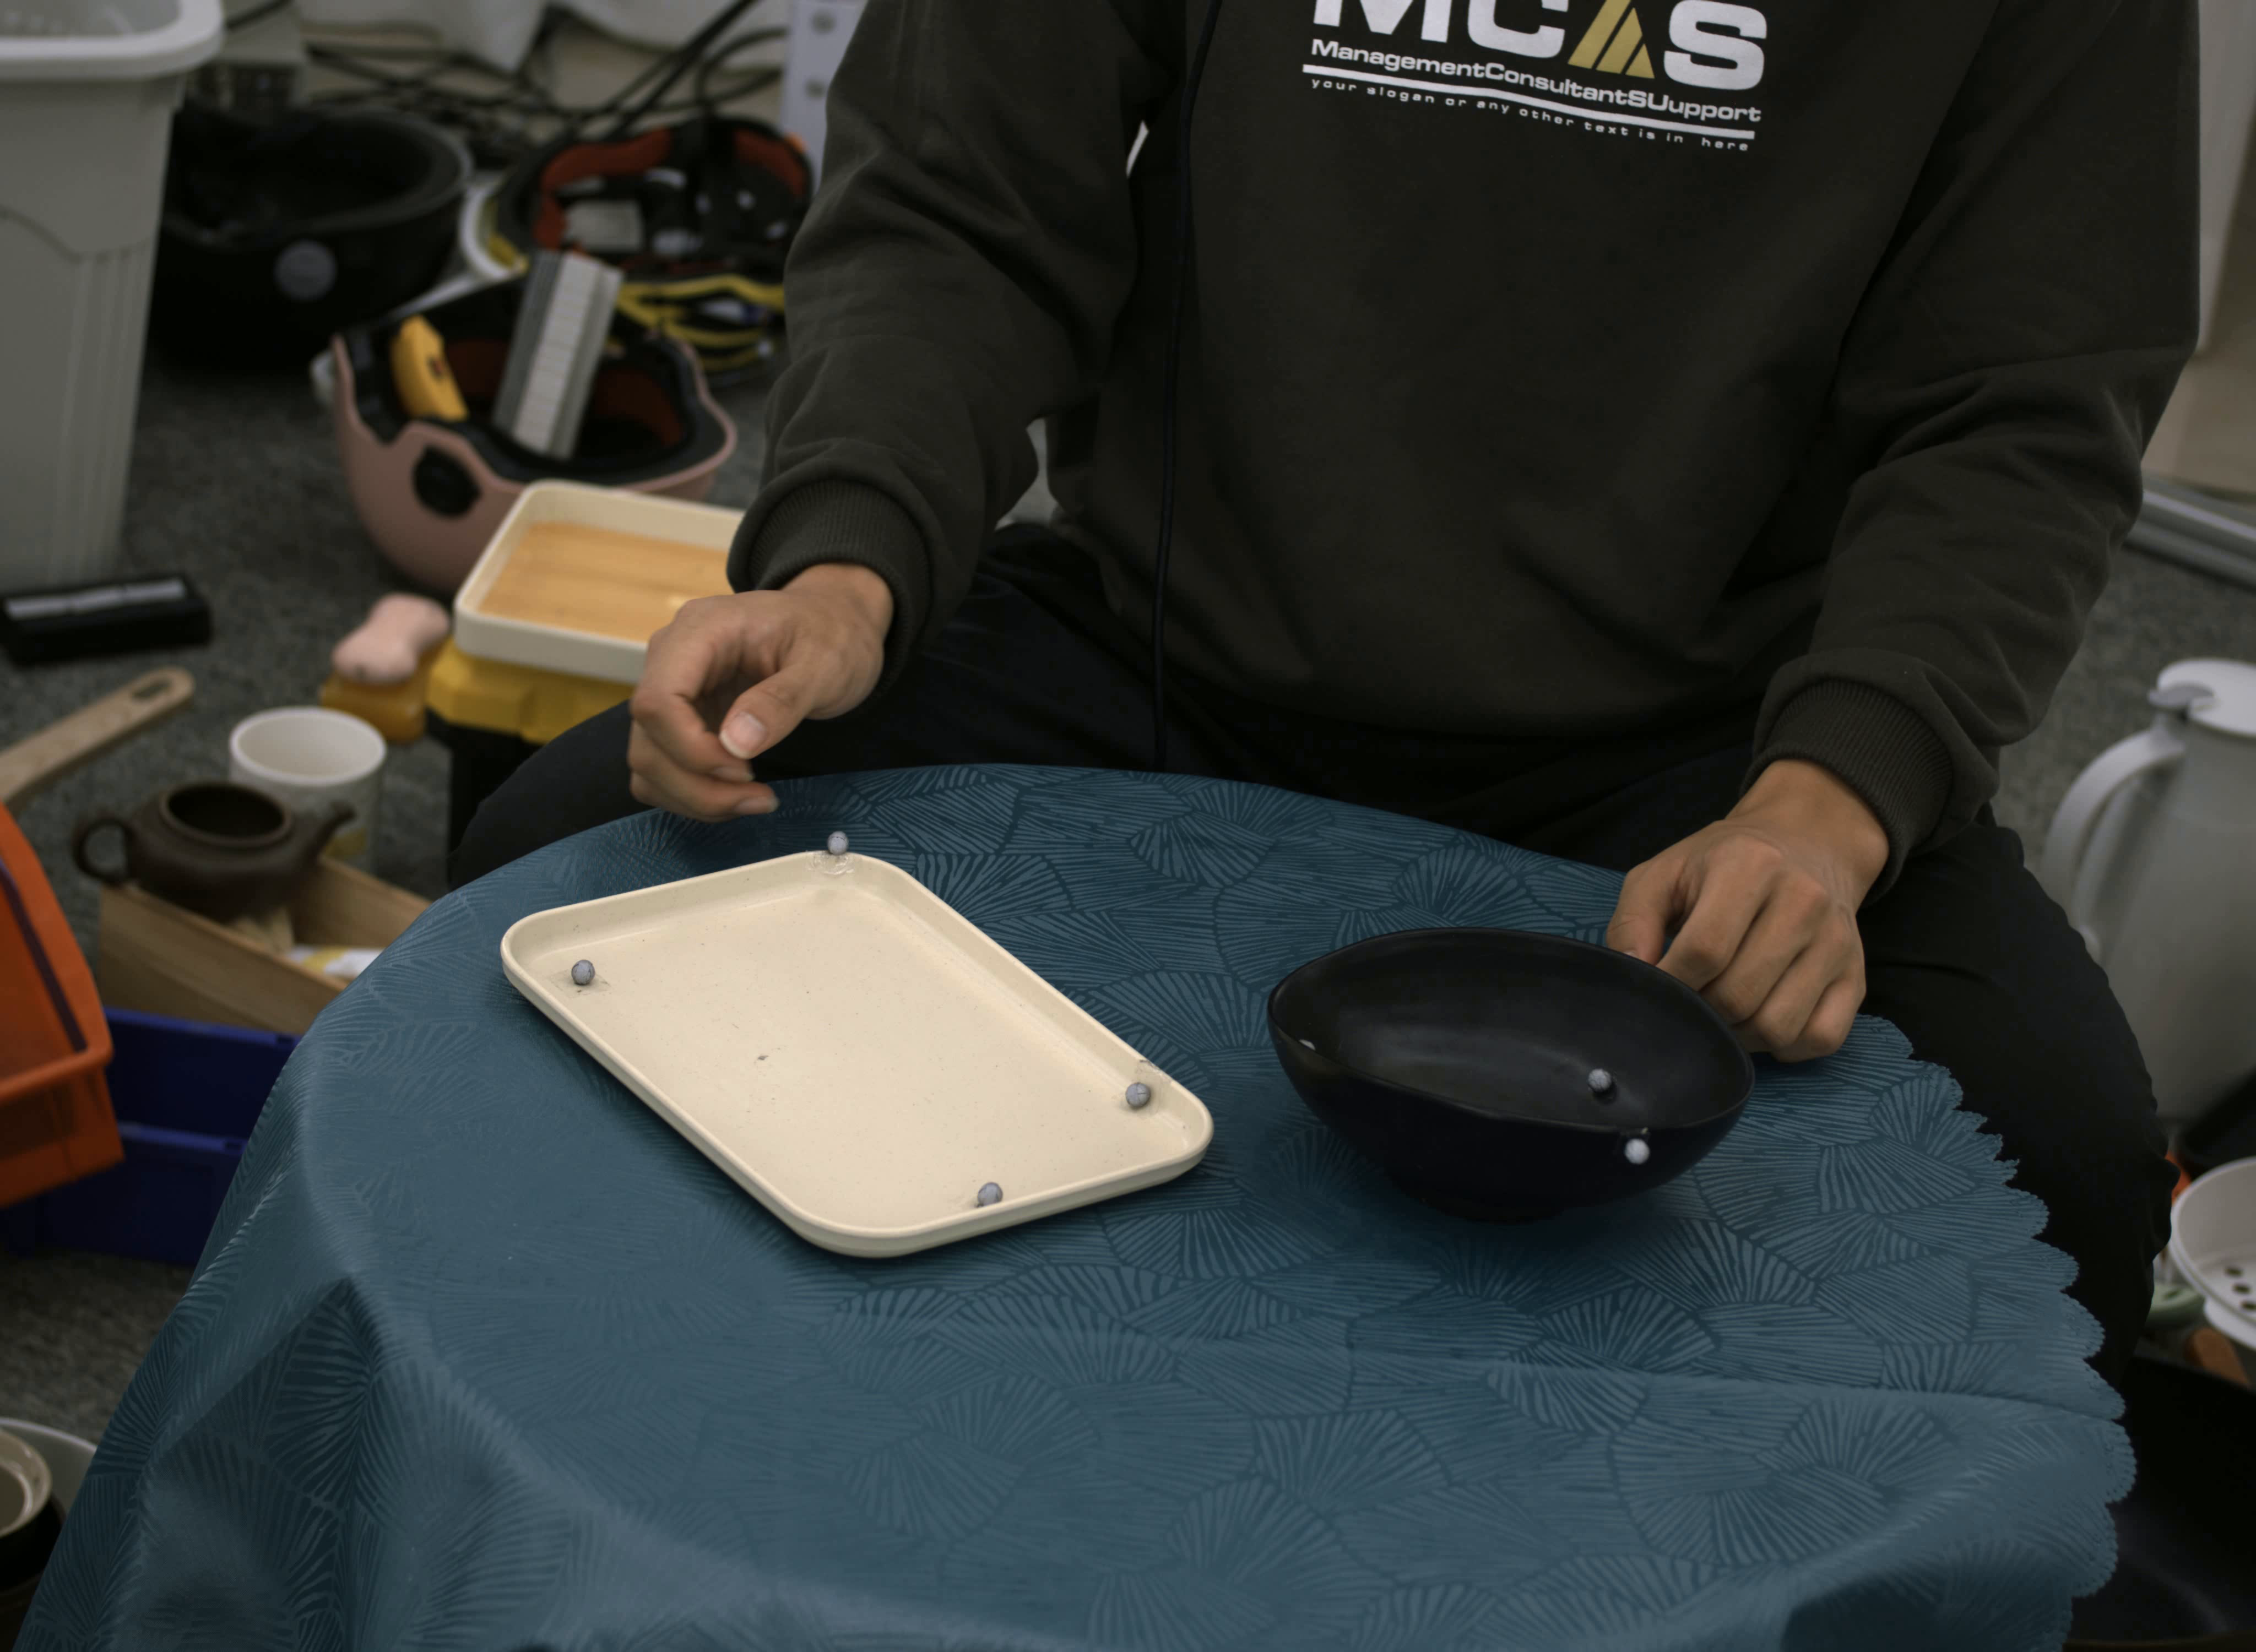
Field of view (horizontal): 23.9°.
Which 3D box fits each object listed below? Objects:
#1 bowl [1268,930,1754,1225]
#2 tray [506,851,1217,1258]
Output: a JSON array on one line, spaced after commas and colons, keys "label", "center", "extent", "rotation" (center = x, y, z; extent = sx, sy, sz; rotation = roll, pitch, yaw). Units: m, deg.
[{"label": "bowl", "center": [0.127, 0.094, 1.827], "extent": [0.170, 0.066, 0.137], "rotation": [12, 26, 14]}, {"label": "tray", "center": [-0.095, 0.078, 1.855], "extent": [0.170, 0.017, 0.242], "rotation": [-14, 33, -34]}]
